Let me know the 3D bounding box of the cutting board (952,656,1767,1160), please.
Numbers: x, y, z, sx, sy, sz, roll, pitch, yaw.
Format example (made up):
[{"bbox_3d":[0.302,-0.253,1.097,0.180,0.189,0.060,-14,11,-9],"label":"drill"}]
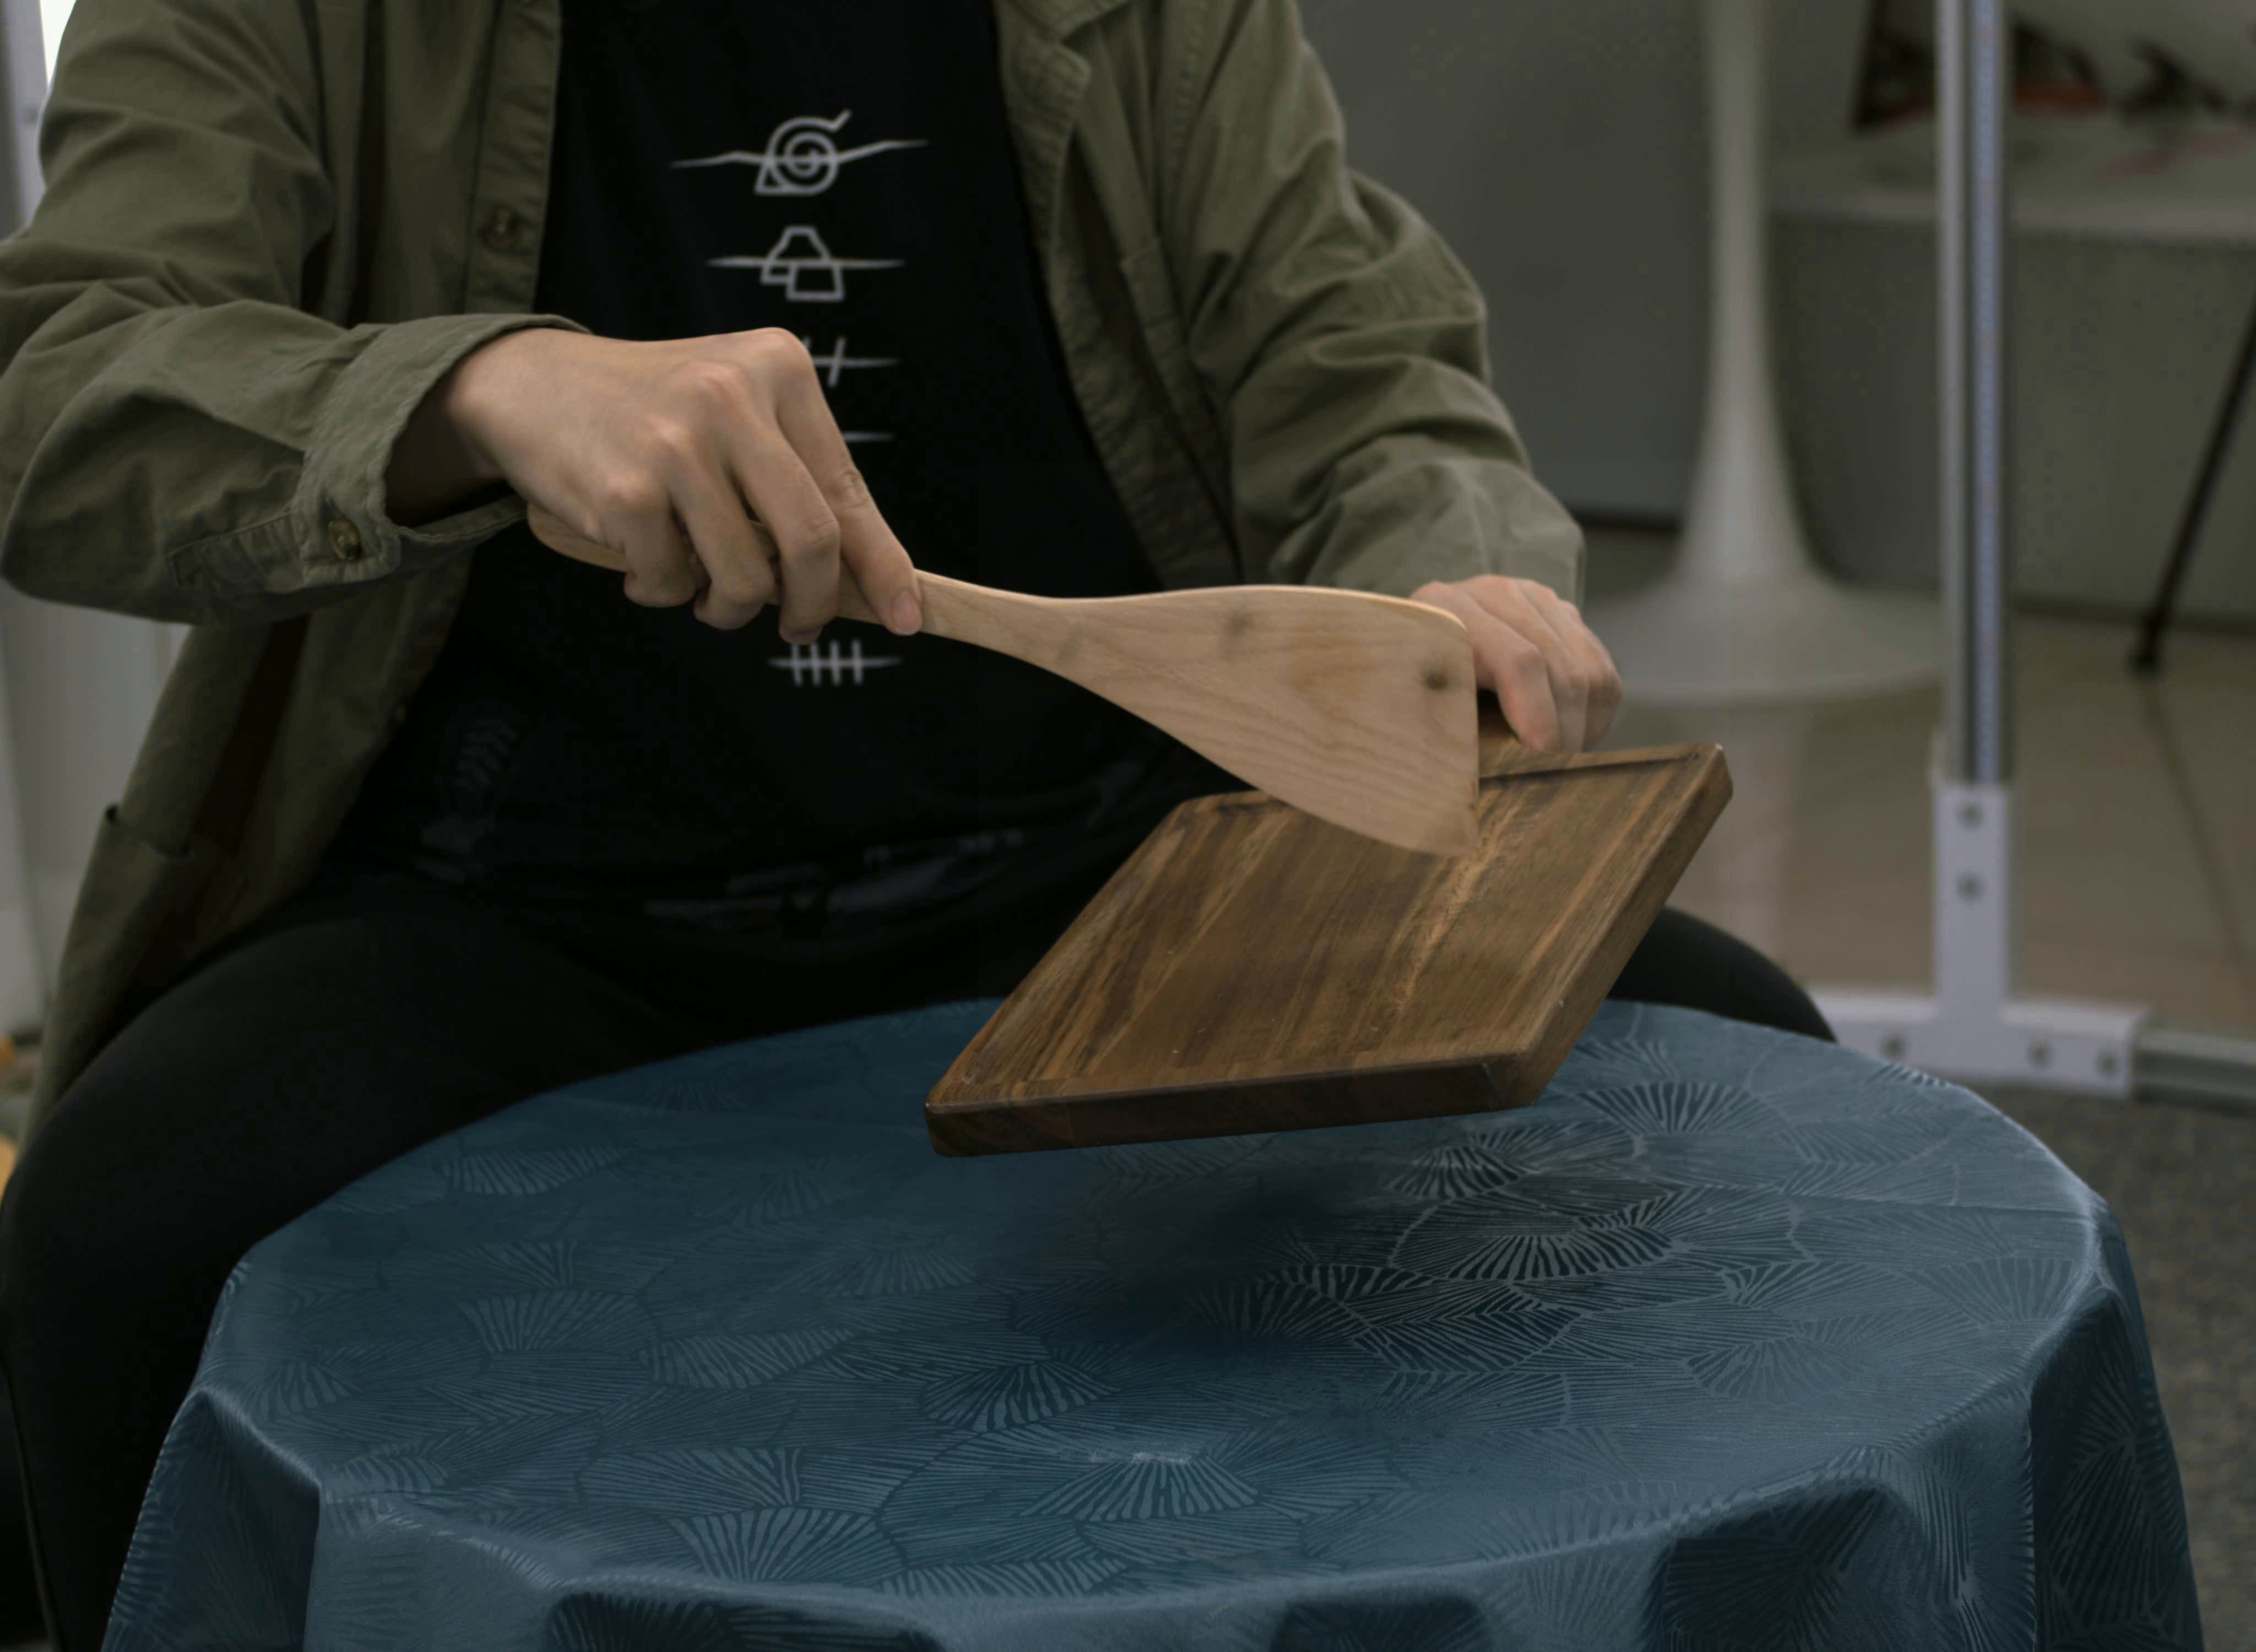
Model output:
[{"bbox_3d":[0.093,0.016,1.710,0.201,0.023,0.349,-7,19,25],"label":"cutting board"}]

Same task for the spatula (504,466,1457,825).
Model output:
[{"bbox_3d":[-0.047,-0.070,1.674,0.327,0.081,0.016,13,22,17],"label":"spatula"}]
